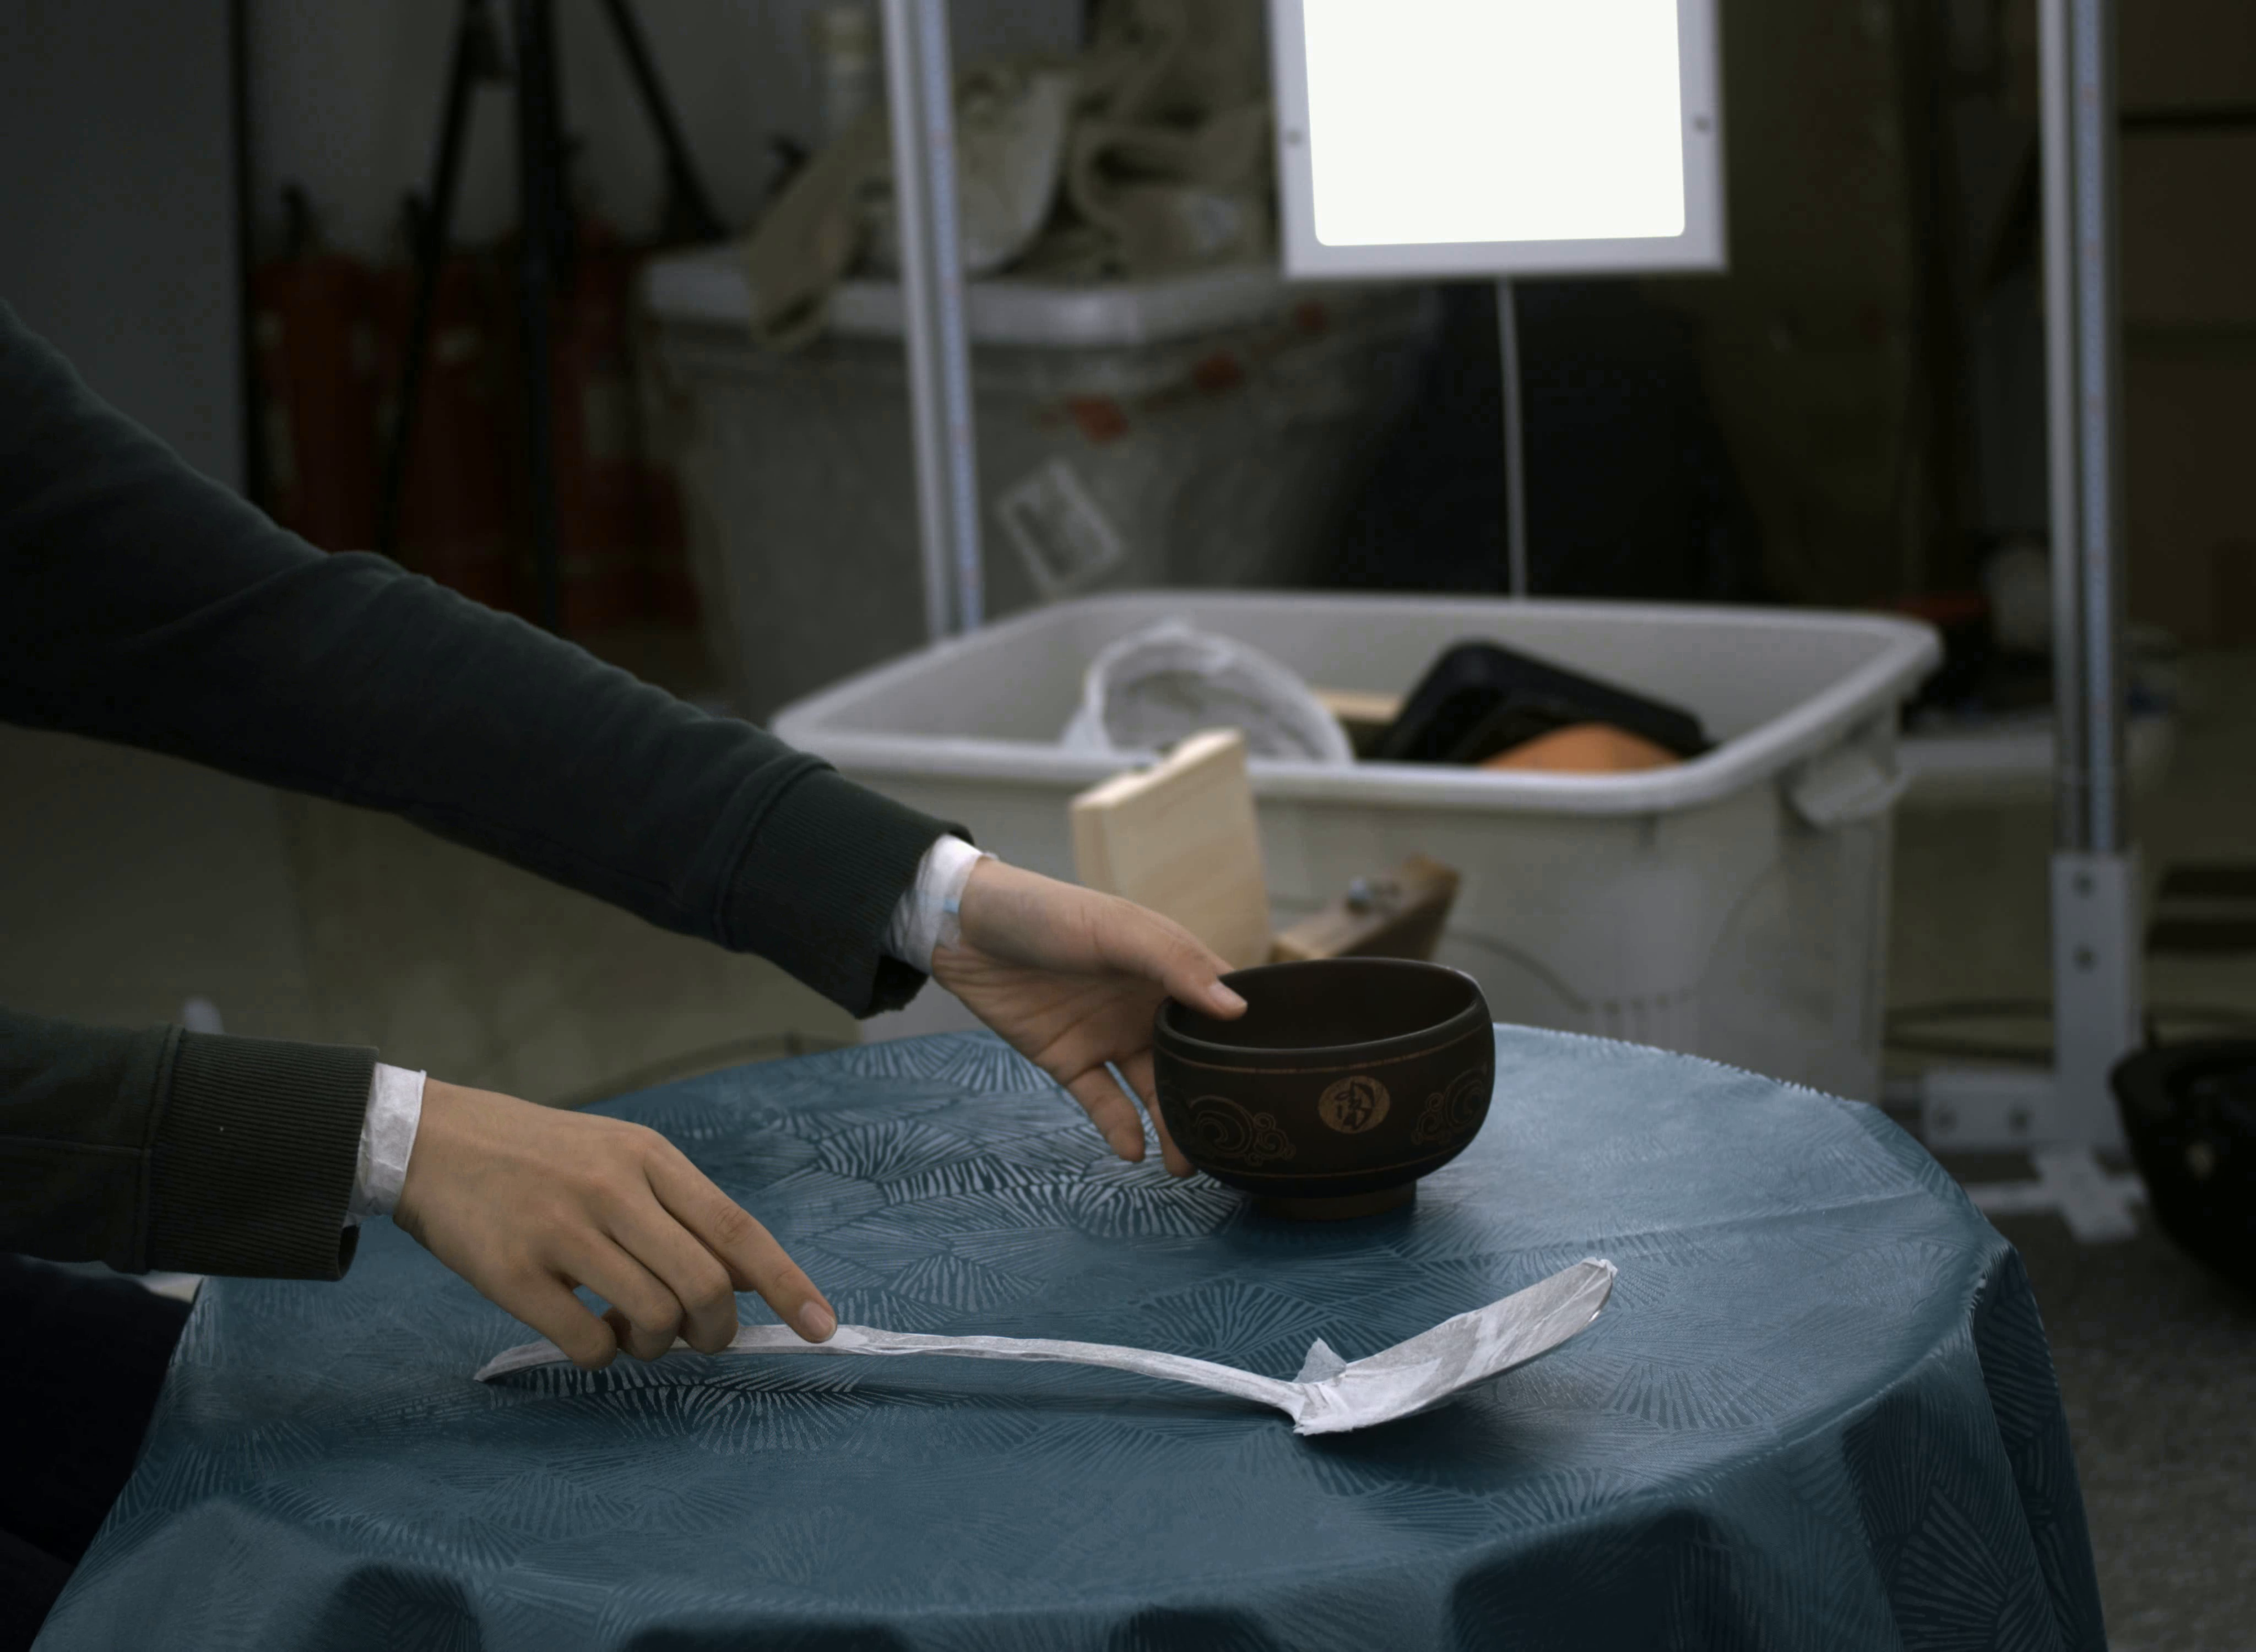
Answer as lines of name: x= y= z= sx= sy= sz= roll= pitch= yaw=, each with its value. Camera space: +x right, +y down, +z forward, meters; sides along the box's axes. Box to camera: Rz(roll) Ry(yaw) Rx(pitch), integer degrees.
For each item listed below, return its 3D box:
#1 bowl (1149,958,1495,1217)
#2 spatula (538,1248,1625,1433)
bowl: x=0.067 y=0.092 z=1.866 sx=0.118 sy=0.070 sz=0.118 roll=-5 pitch=12 yaw=0
spatula: x=-0.025 y=0.157 z=1.701 sx=0.370 sy=0.045 sz=0.097 roll=1 pitch=17 yaw=22
